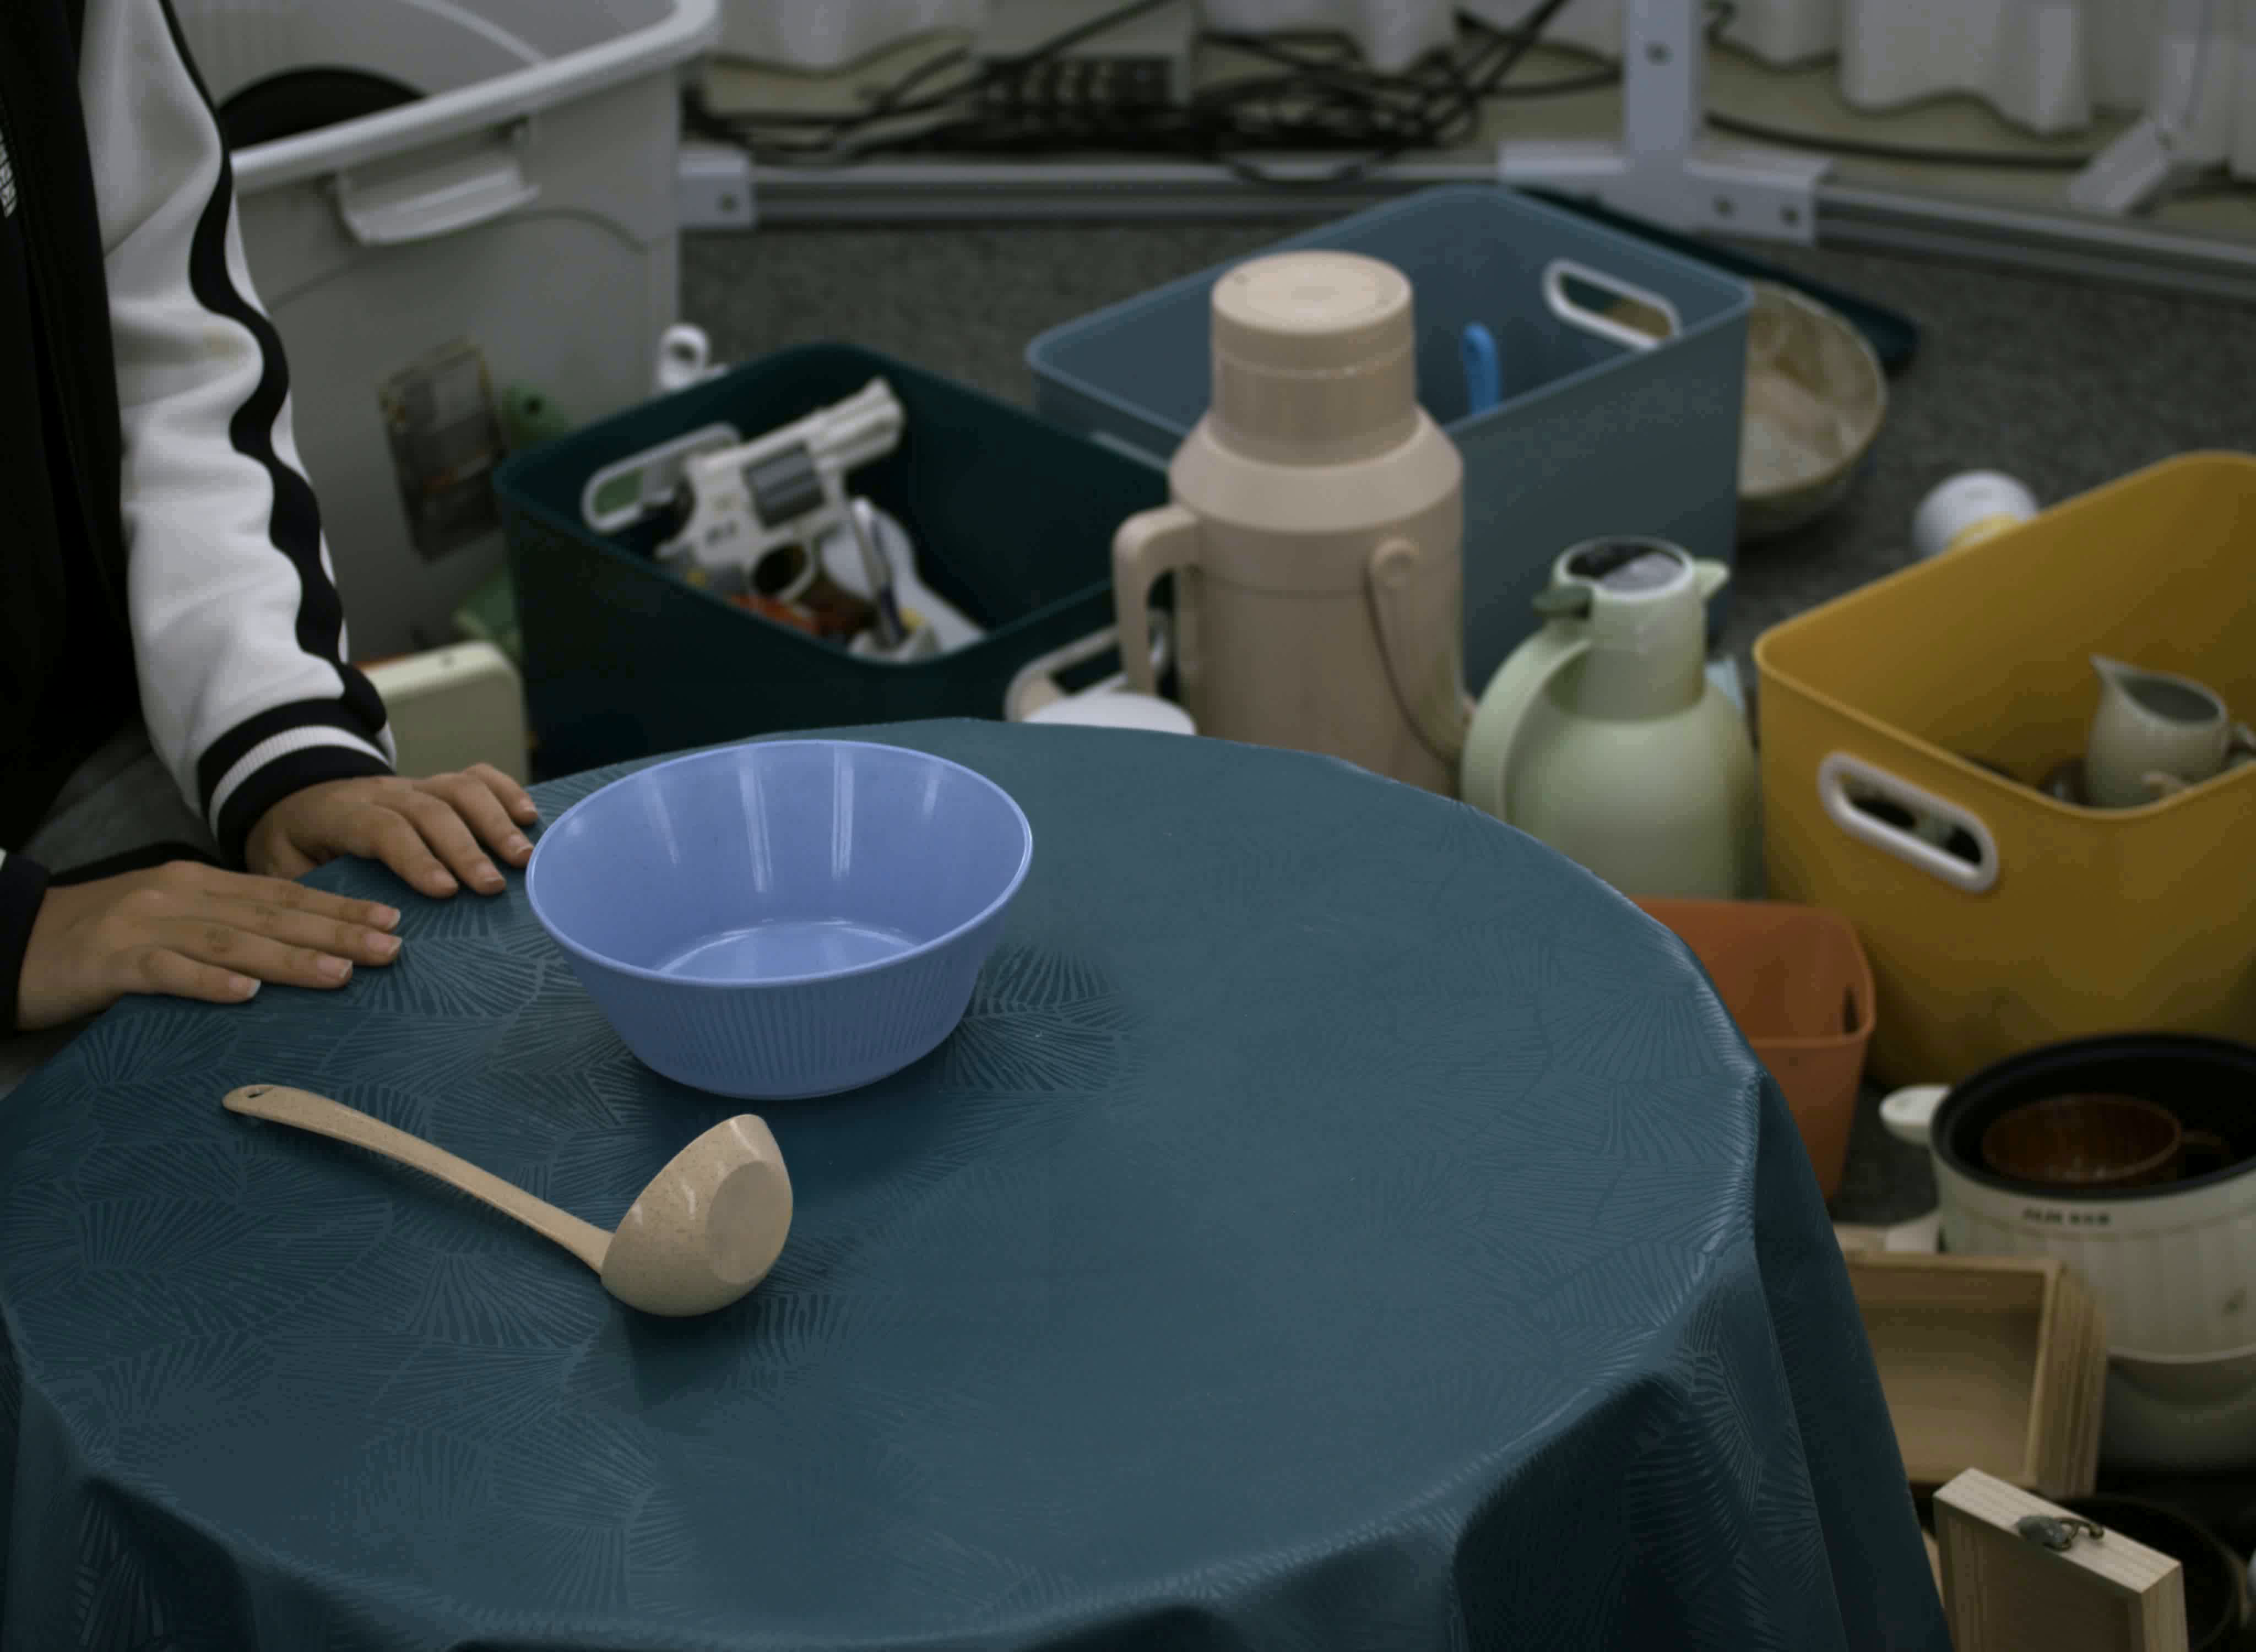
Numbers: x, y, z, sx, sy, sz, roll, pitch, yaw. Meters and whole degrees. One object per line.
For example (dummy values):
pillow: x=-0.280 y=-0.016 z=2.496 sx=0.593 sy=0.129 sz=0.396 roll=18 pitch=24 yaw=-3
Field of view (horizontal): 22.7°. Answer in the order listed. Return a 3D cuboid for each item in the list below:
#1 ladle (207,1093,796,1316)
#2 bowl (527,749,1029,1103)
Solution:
ladle: x=-0.217 y=0.097 z=1.851 sx=0.253 sy=0.072 sz=0.073 roll=18 pitch=32 yaw=34
bowl: x=-0.120 y=0.041 z=1.956 sx=0.175 sy=0.069 sz=0.179 roll=-1 pitch=27 yaw=1
